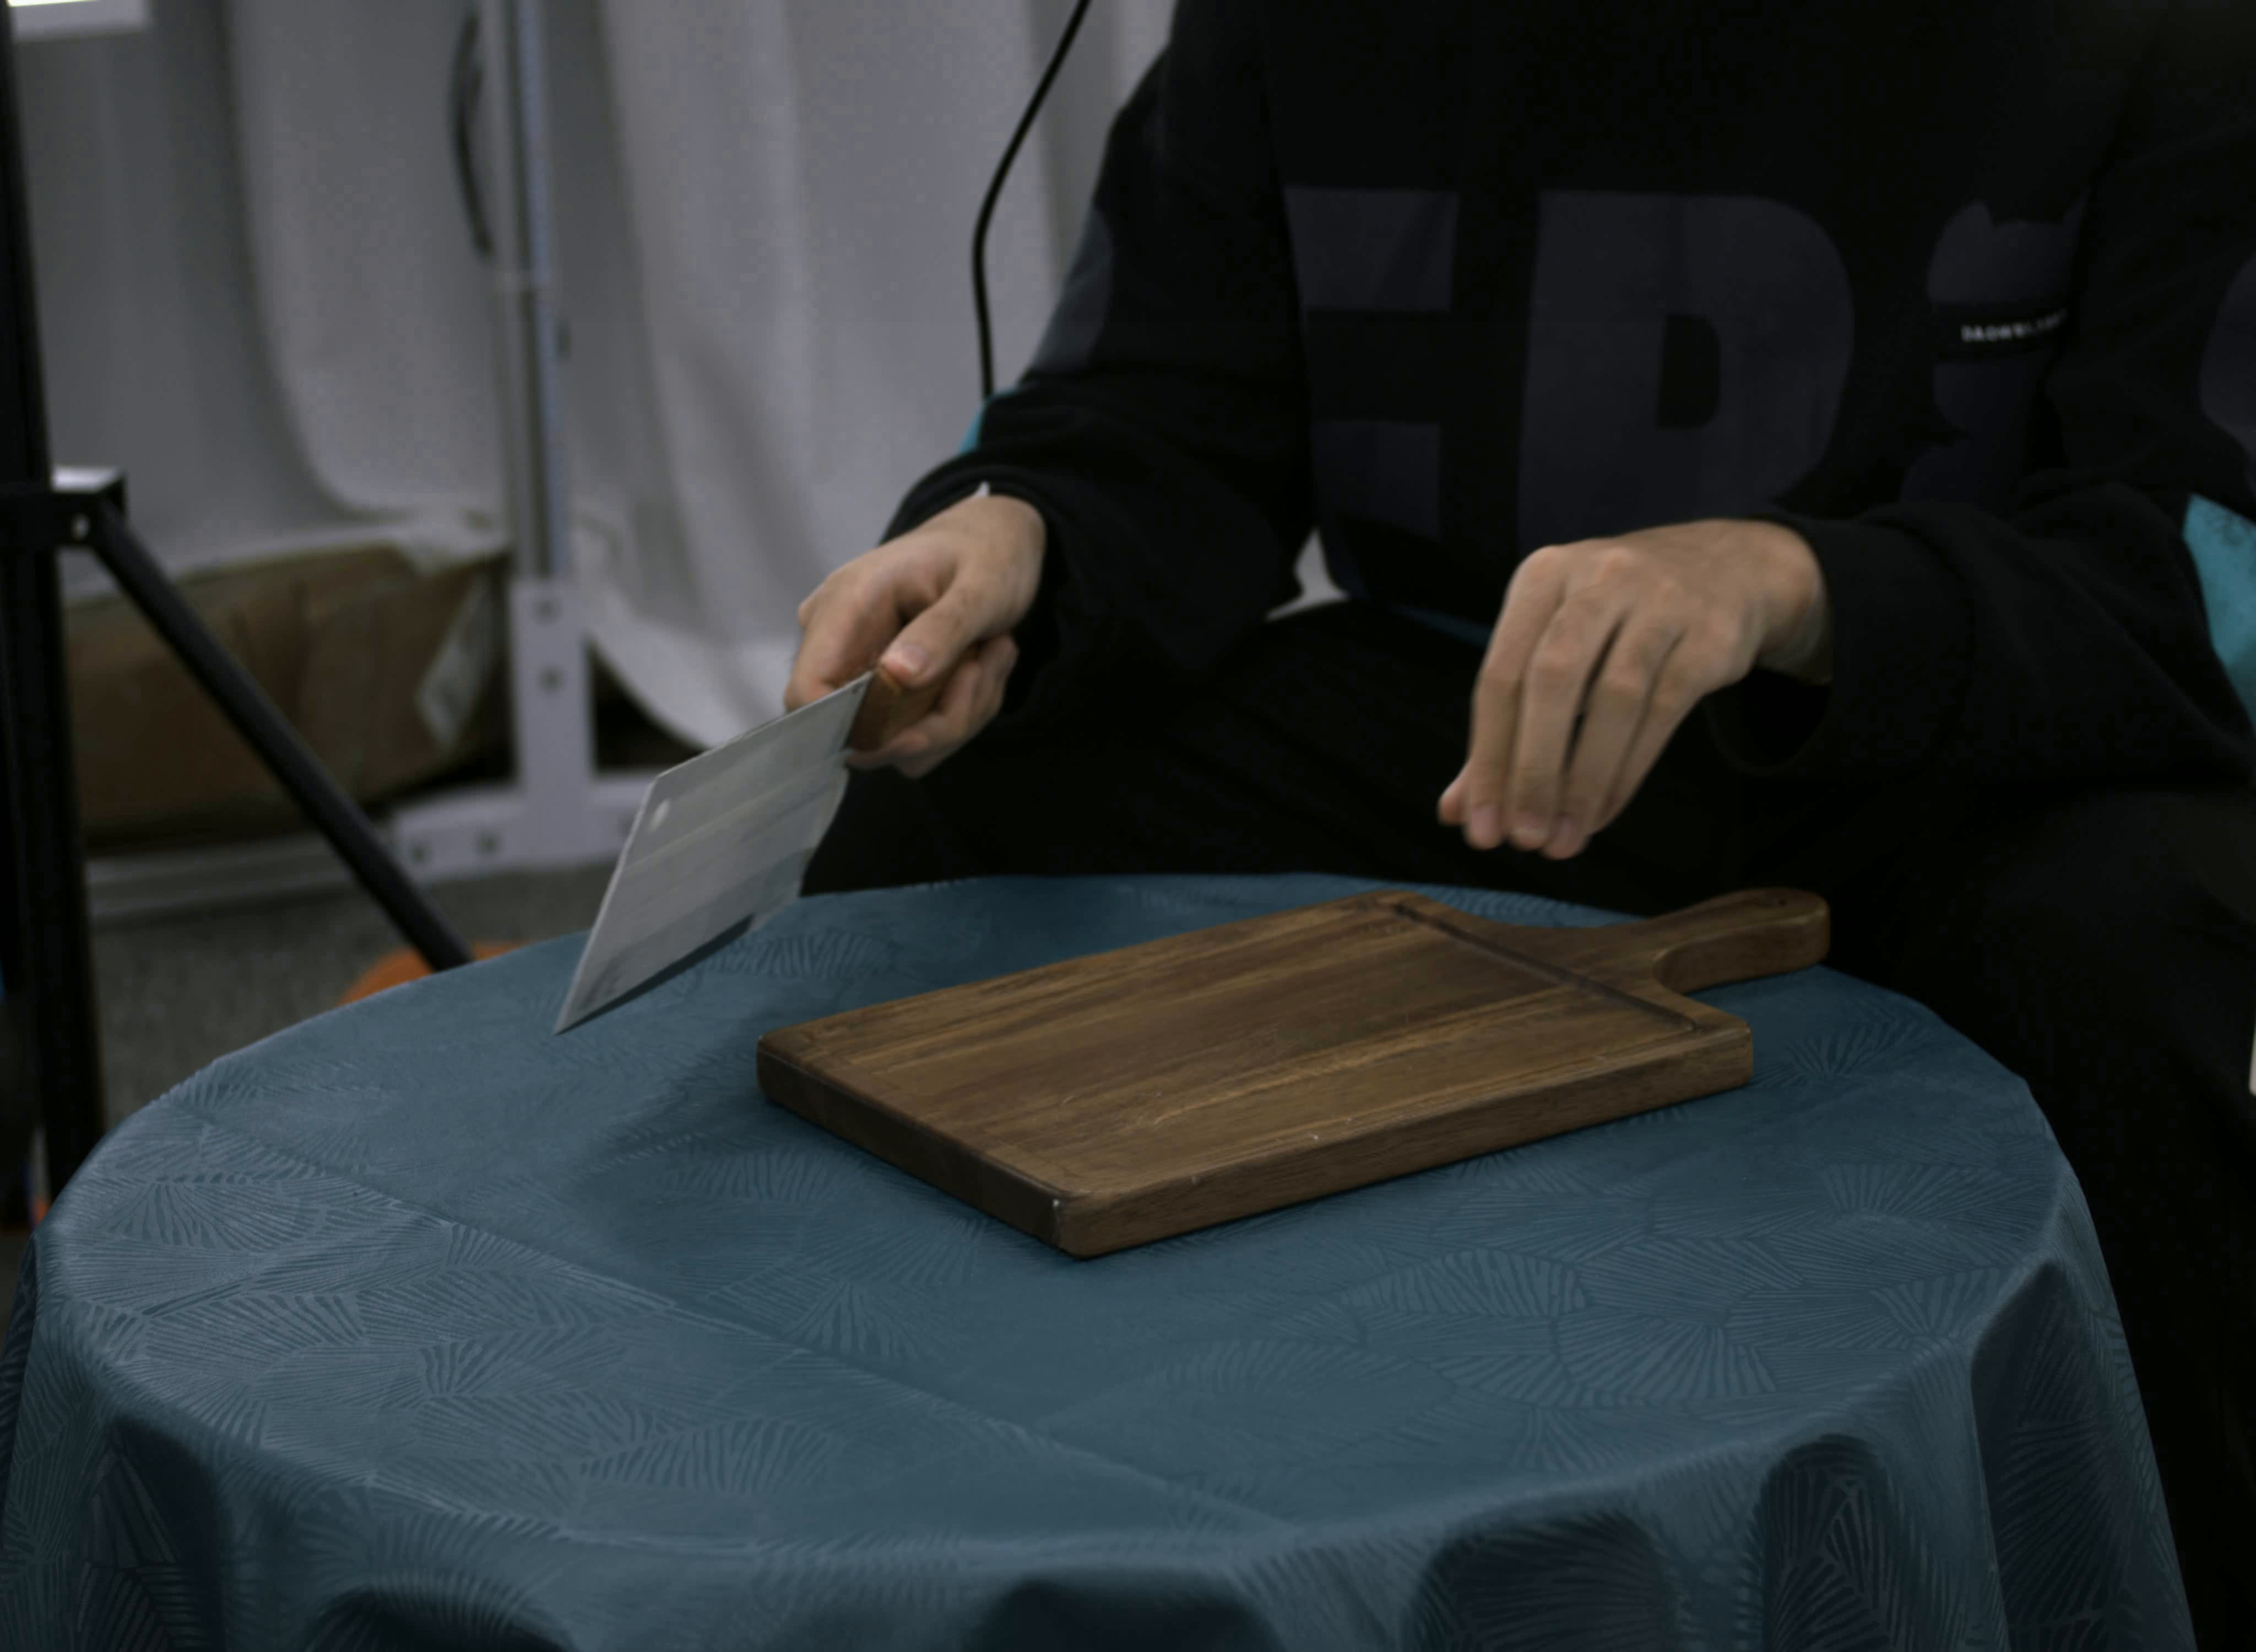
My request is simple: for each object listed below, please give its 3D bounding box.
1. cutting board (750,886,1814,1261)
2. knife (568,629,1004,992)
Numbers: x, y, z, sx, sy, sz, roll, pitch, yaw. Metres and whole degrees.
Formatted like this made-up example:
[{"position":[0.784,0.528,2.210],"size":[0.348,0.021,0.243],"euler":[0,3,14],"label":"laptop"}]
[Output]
[{"position":[0.078,0.064,1.662],"size":[0.344,0.023,0.205],"euler":[-12,19,-30],"label":"cutting board"},{"position":[-0.111,-0.005,1.732],"size":[0.021,0.093,0.302],"euler":[27,19,12],"label":"knife"}]
